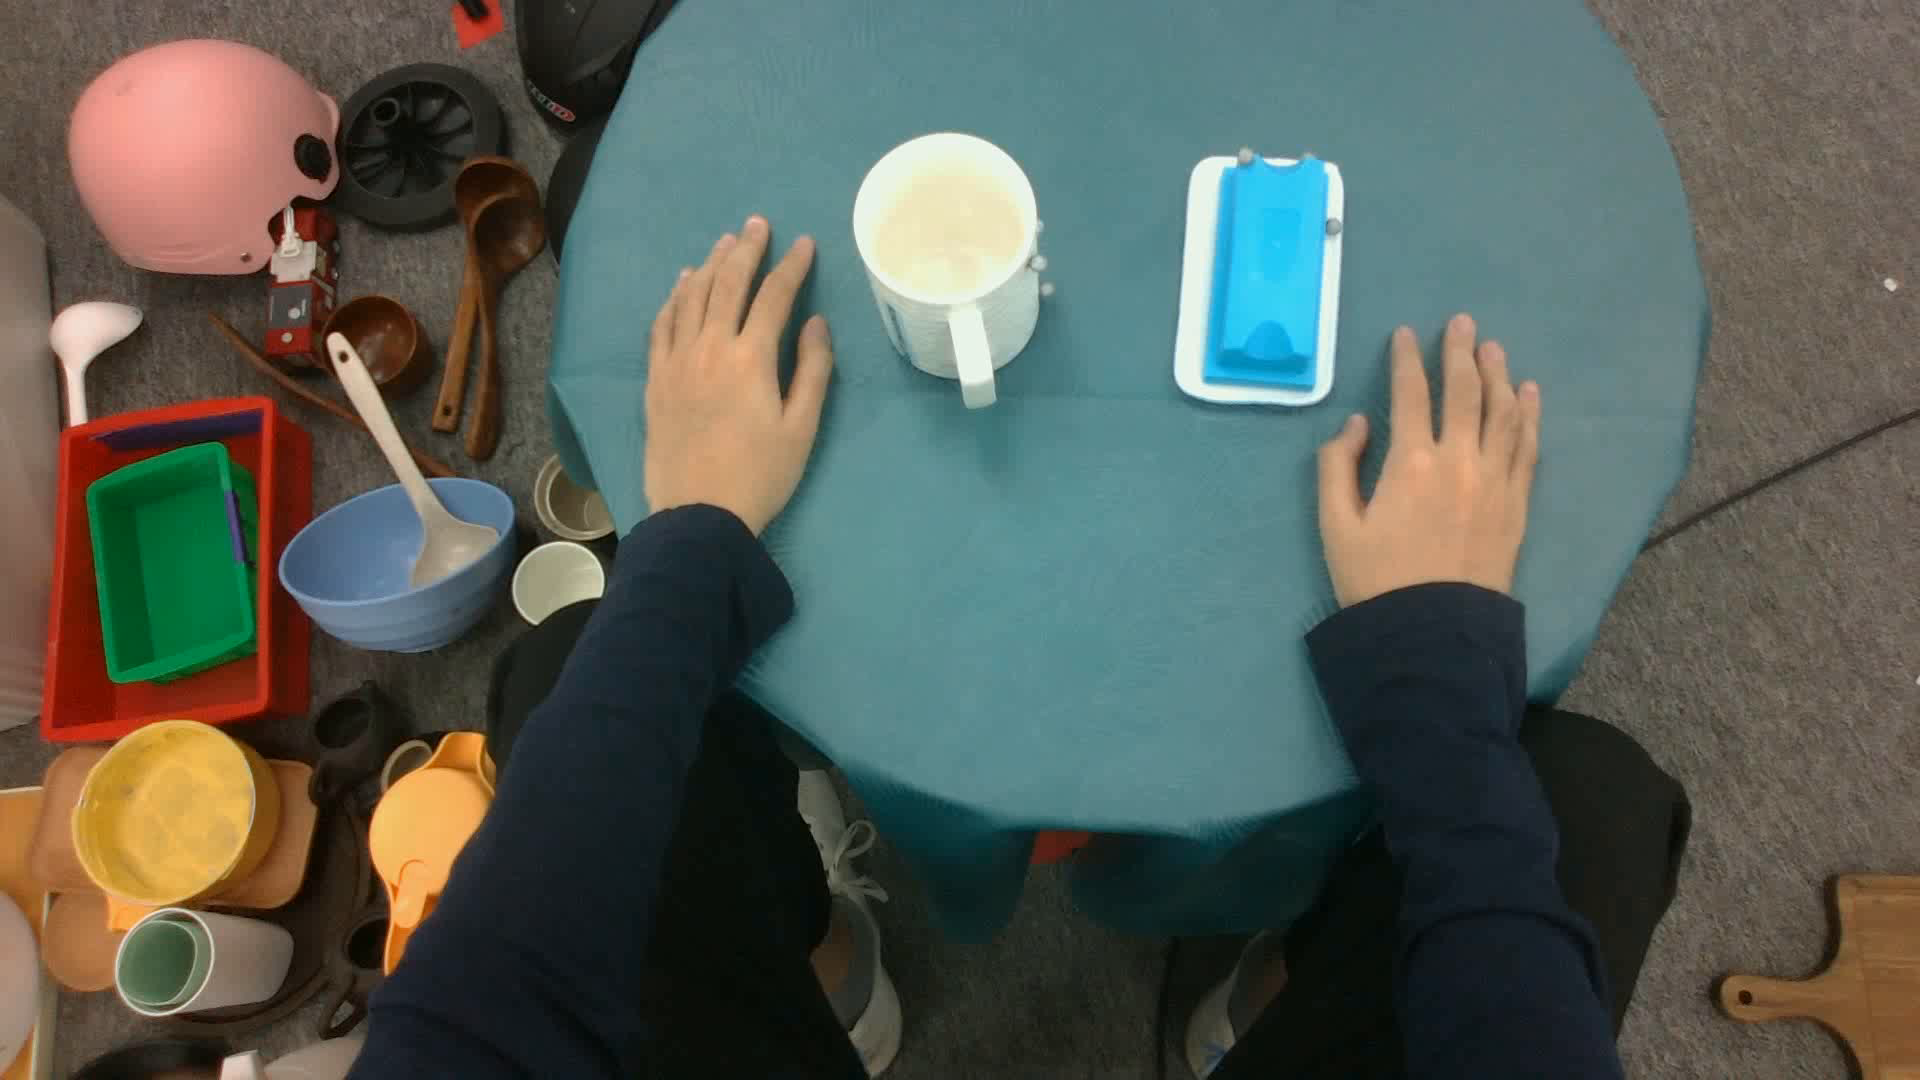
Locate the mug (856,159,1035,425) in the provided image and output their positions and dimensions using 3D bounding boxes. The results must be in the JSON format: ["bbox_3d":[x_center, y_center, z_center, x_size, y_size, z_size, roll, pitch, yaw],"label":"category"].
[{"bbox_3d":[-0.001,-0.114,0.695,0.085,0.101,0.118,-13,73,-1],"label":"mug"}]

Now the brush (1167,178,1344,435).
[{"bbox_3d":[0.154,-0.127,0.710,0.084,0.056,0.144,7,71,9],"label":"brush"}]
